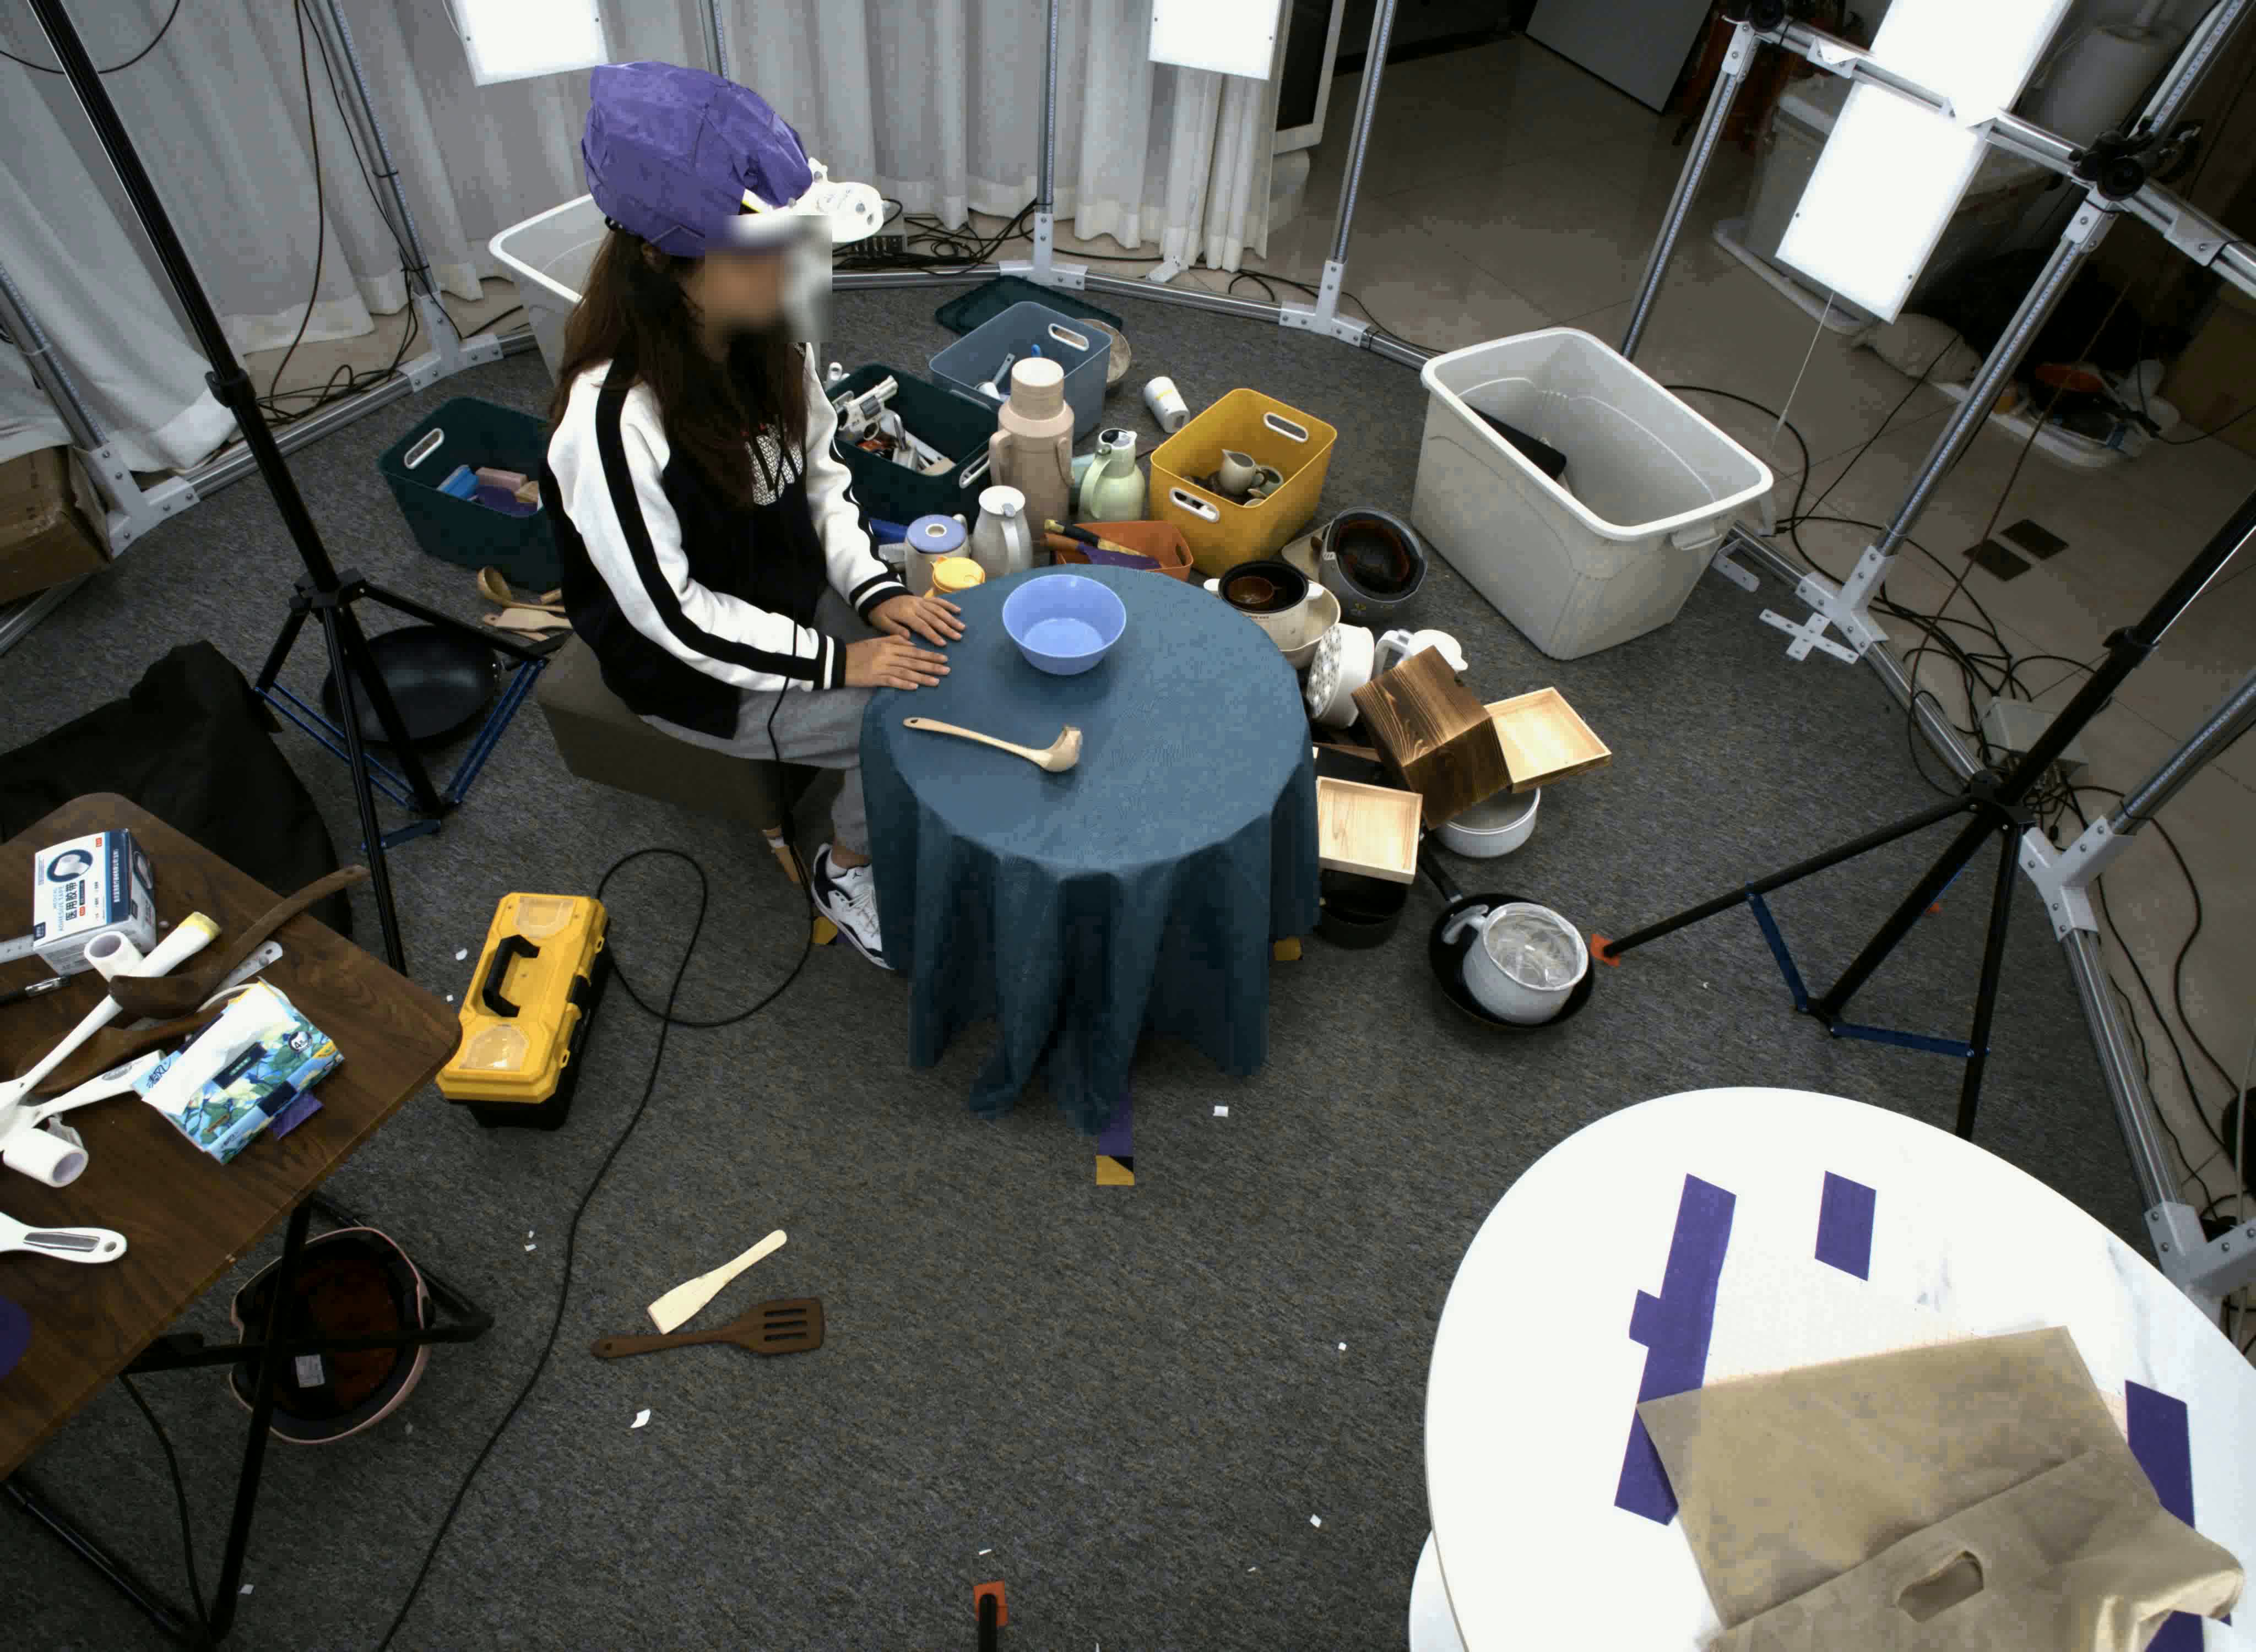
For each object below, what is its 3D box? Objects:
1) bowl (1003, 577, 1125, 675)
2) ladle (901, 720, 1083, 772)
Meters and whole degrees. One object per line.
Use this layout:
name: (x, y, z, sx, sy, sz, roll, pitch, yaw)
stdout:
bowl: (-0.093, -0.281, 1.862, 0.176, 0.068, 0.180, 2, 48, -3)
ladle: (-0.187, -0.132, 1.724, 0.255, 0.071, 0.073, 14, 49, 8)
